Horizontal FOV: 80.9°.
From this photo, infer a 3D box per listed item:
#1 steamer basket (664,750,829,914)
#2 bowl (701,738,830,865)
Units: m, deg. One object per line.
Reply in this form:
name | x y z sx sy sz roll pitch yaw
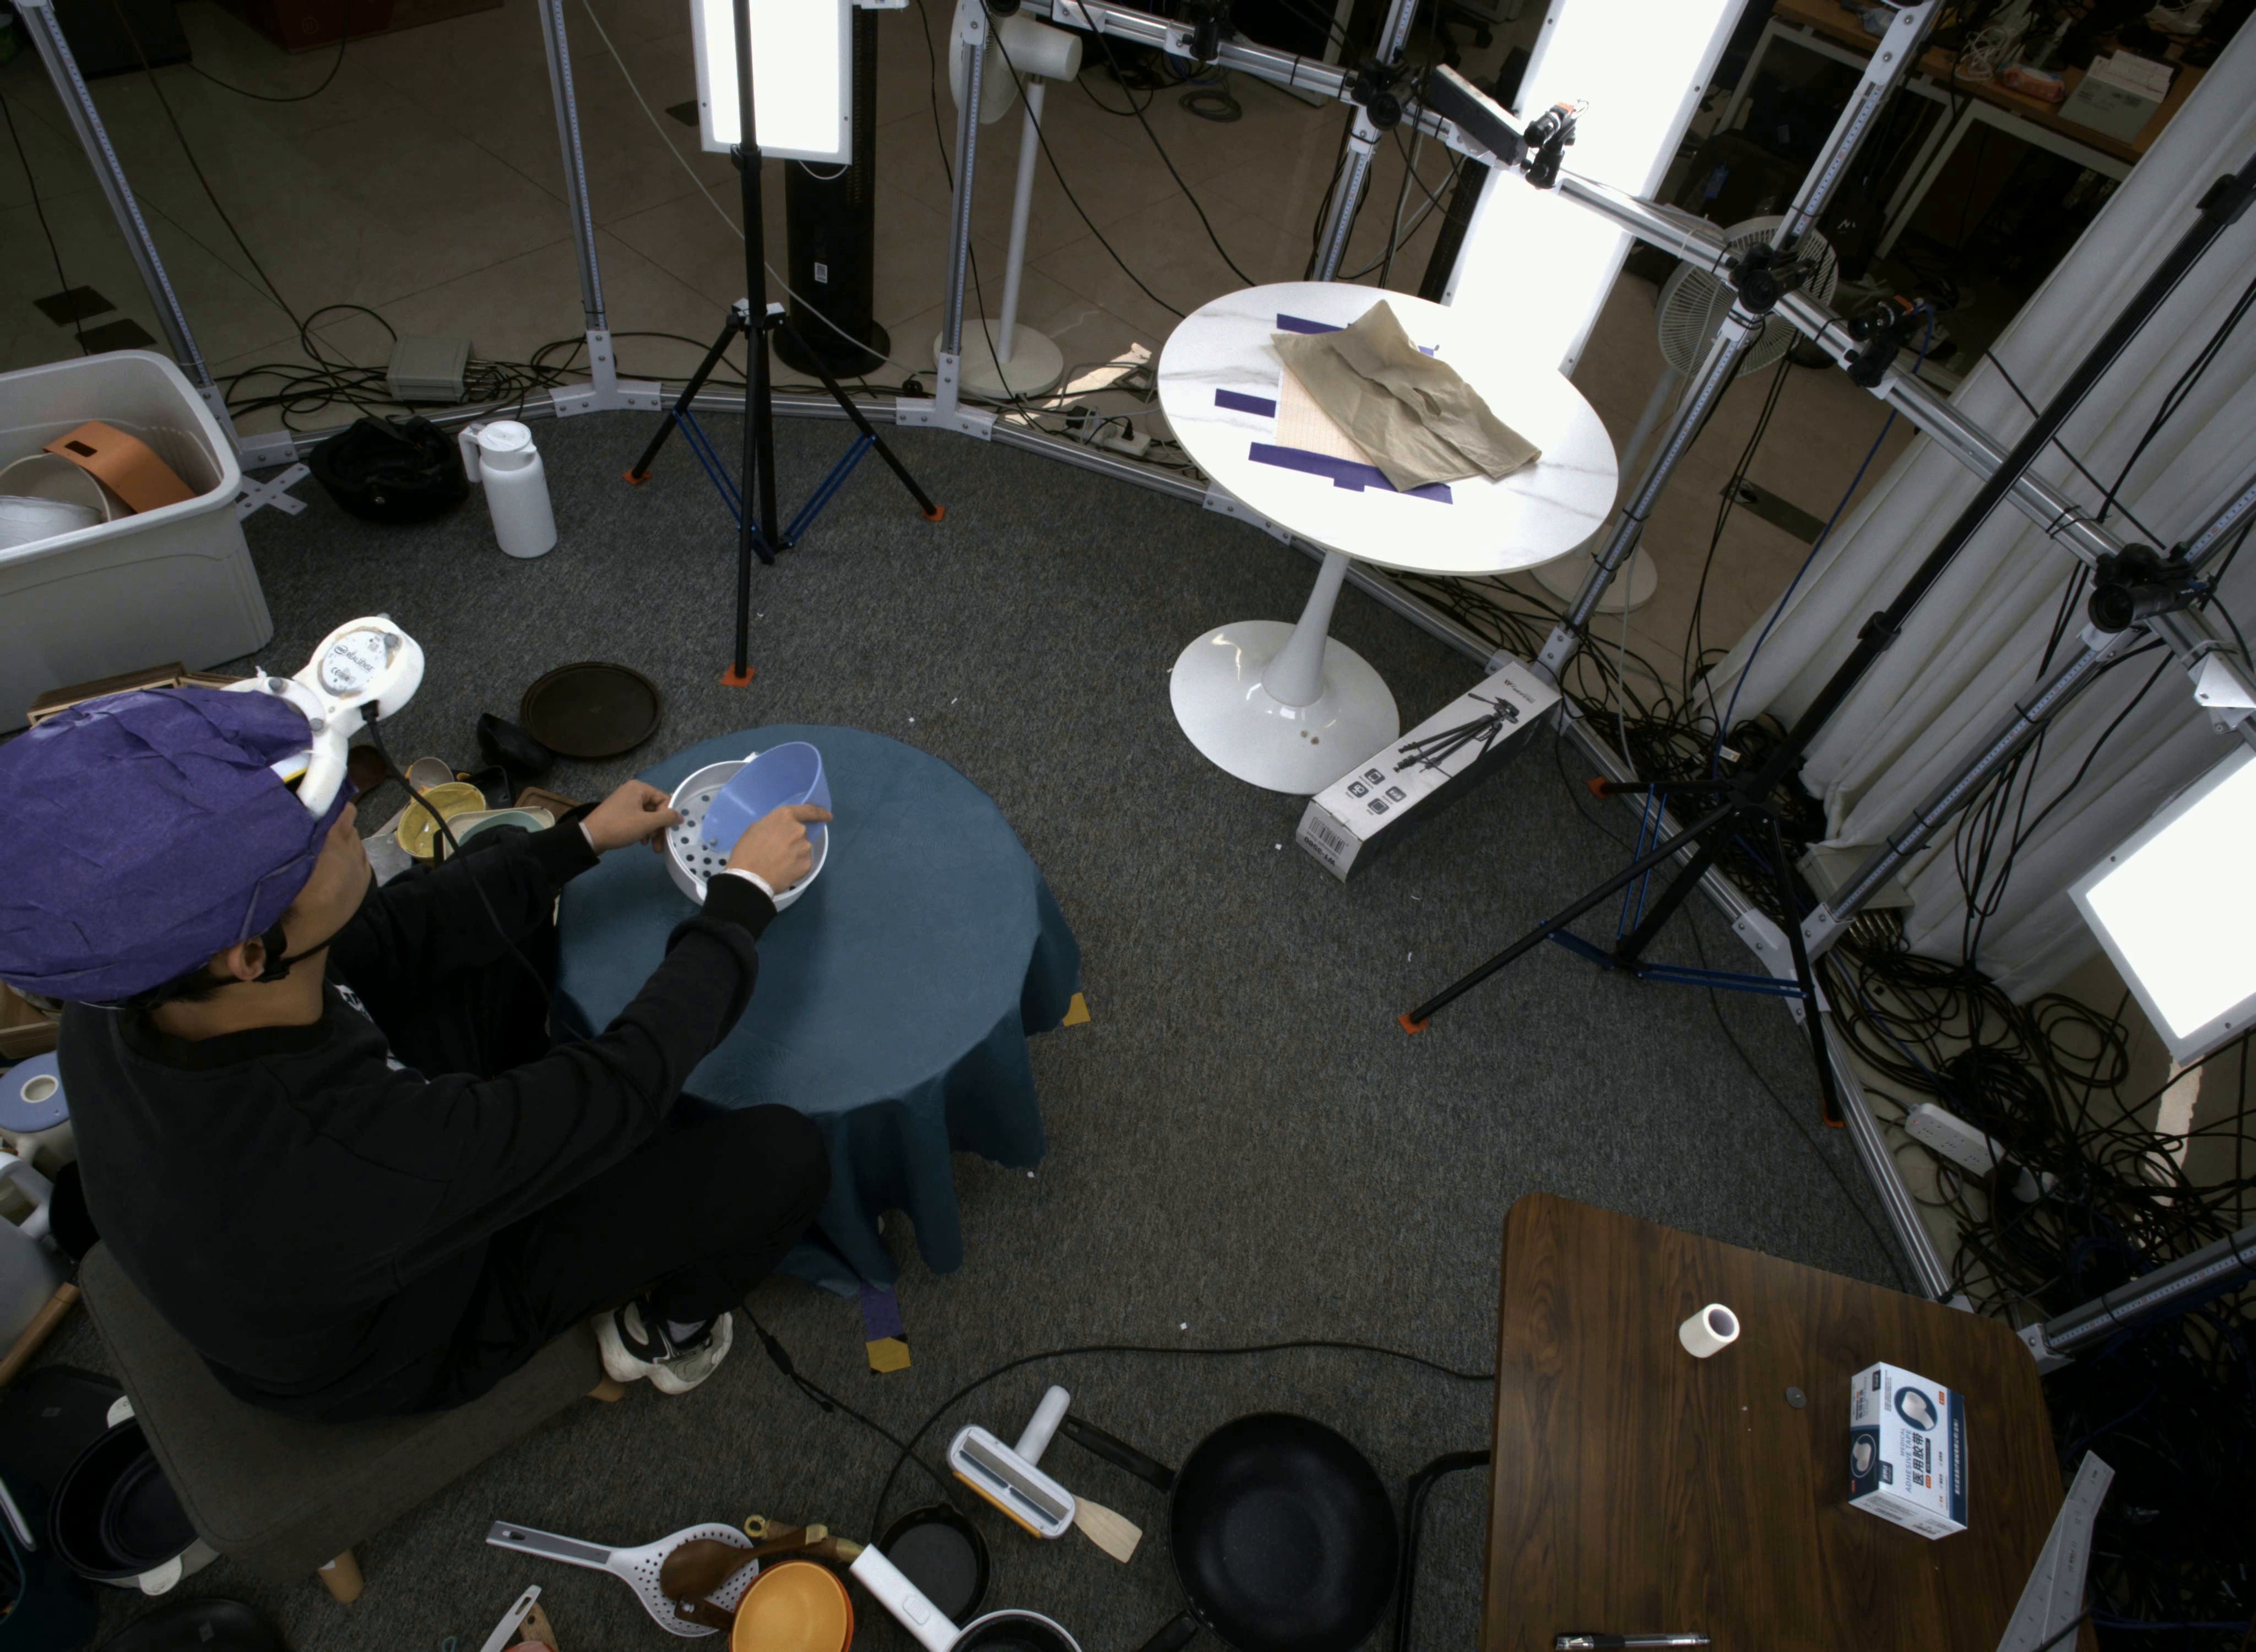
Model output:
steamer basket | -0.484 0.013 1.632 0.205 0.069 0.227 22 52 -19
bowl | -0.431 -0.020 1.580 0.173 0.073 0.172 -19 43 20
